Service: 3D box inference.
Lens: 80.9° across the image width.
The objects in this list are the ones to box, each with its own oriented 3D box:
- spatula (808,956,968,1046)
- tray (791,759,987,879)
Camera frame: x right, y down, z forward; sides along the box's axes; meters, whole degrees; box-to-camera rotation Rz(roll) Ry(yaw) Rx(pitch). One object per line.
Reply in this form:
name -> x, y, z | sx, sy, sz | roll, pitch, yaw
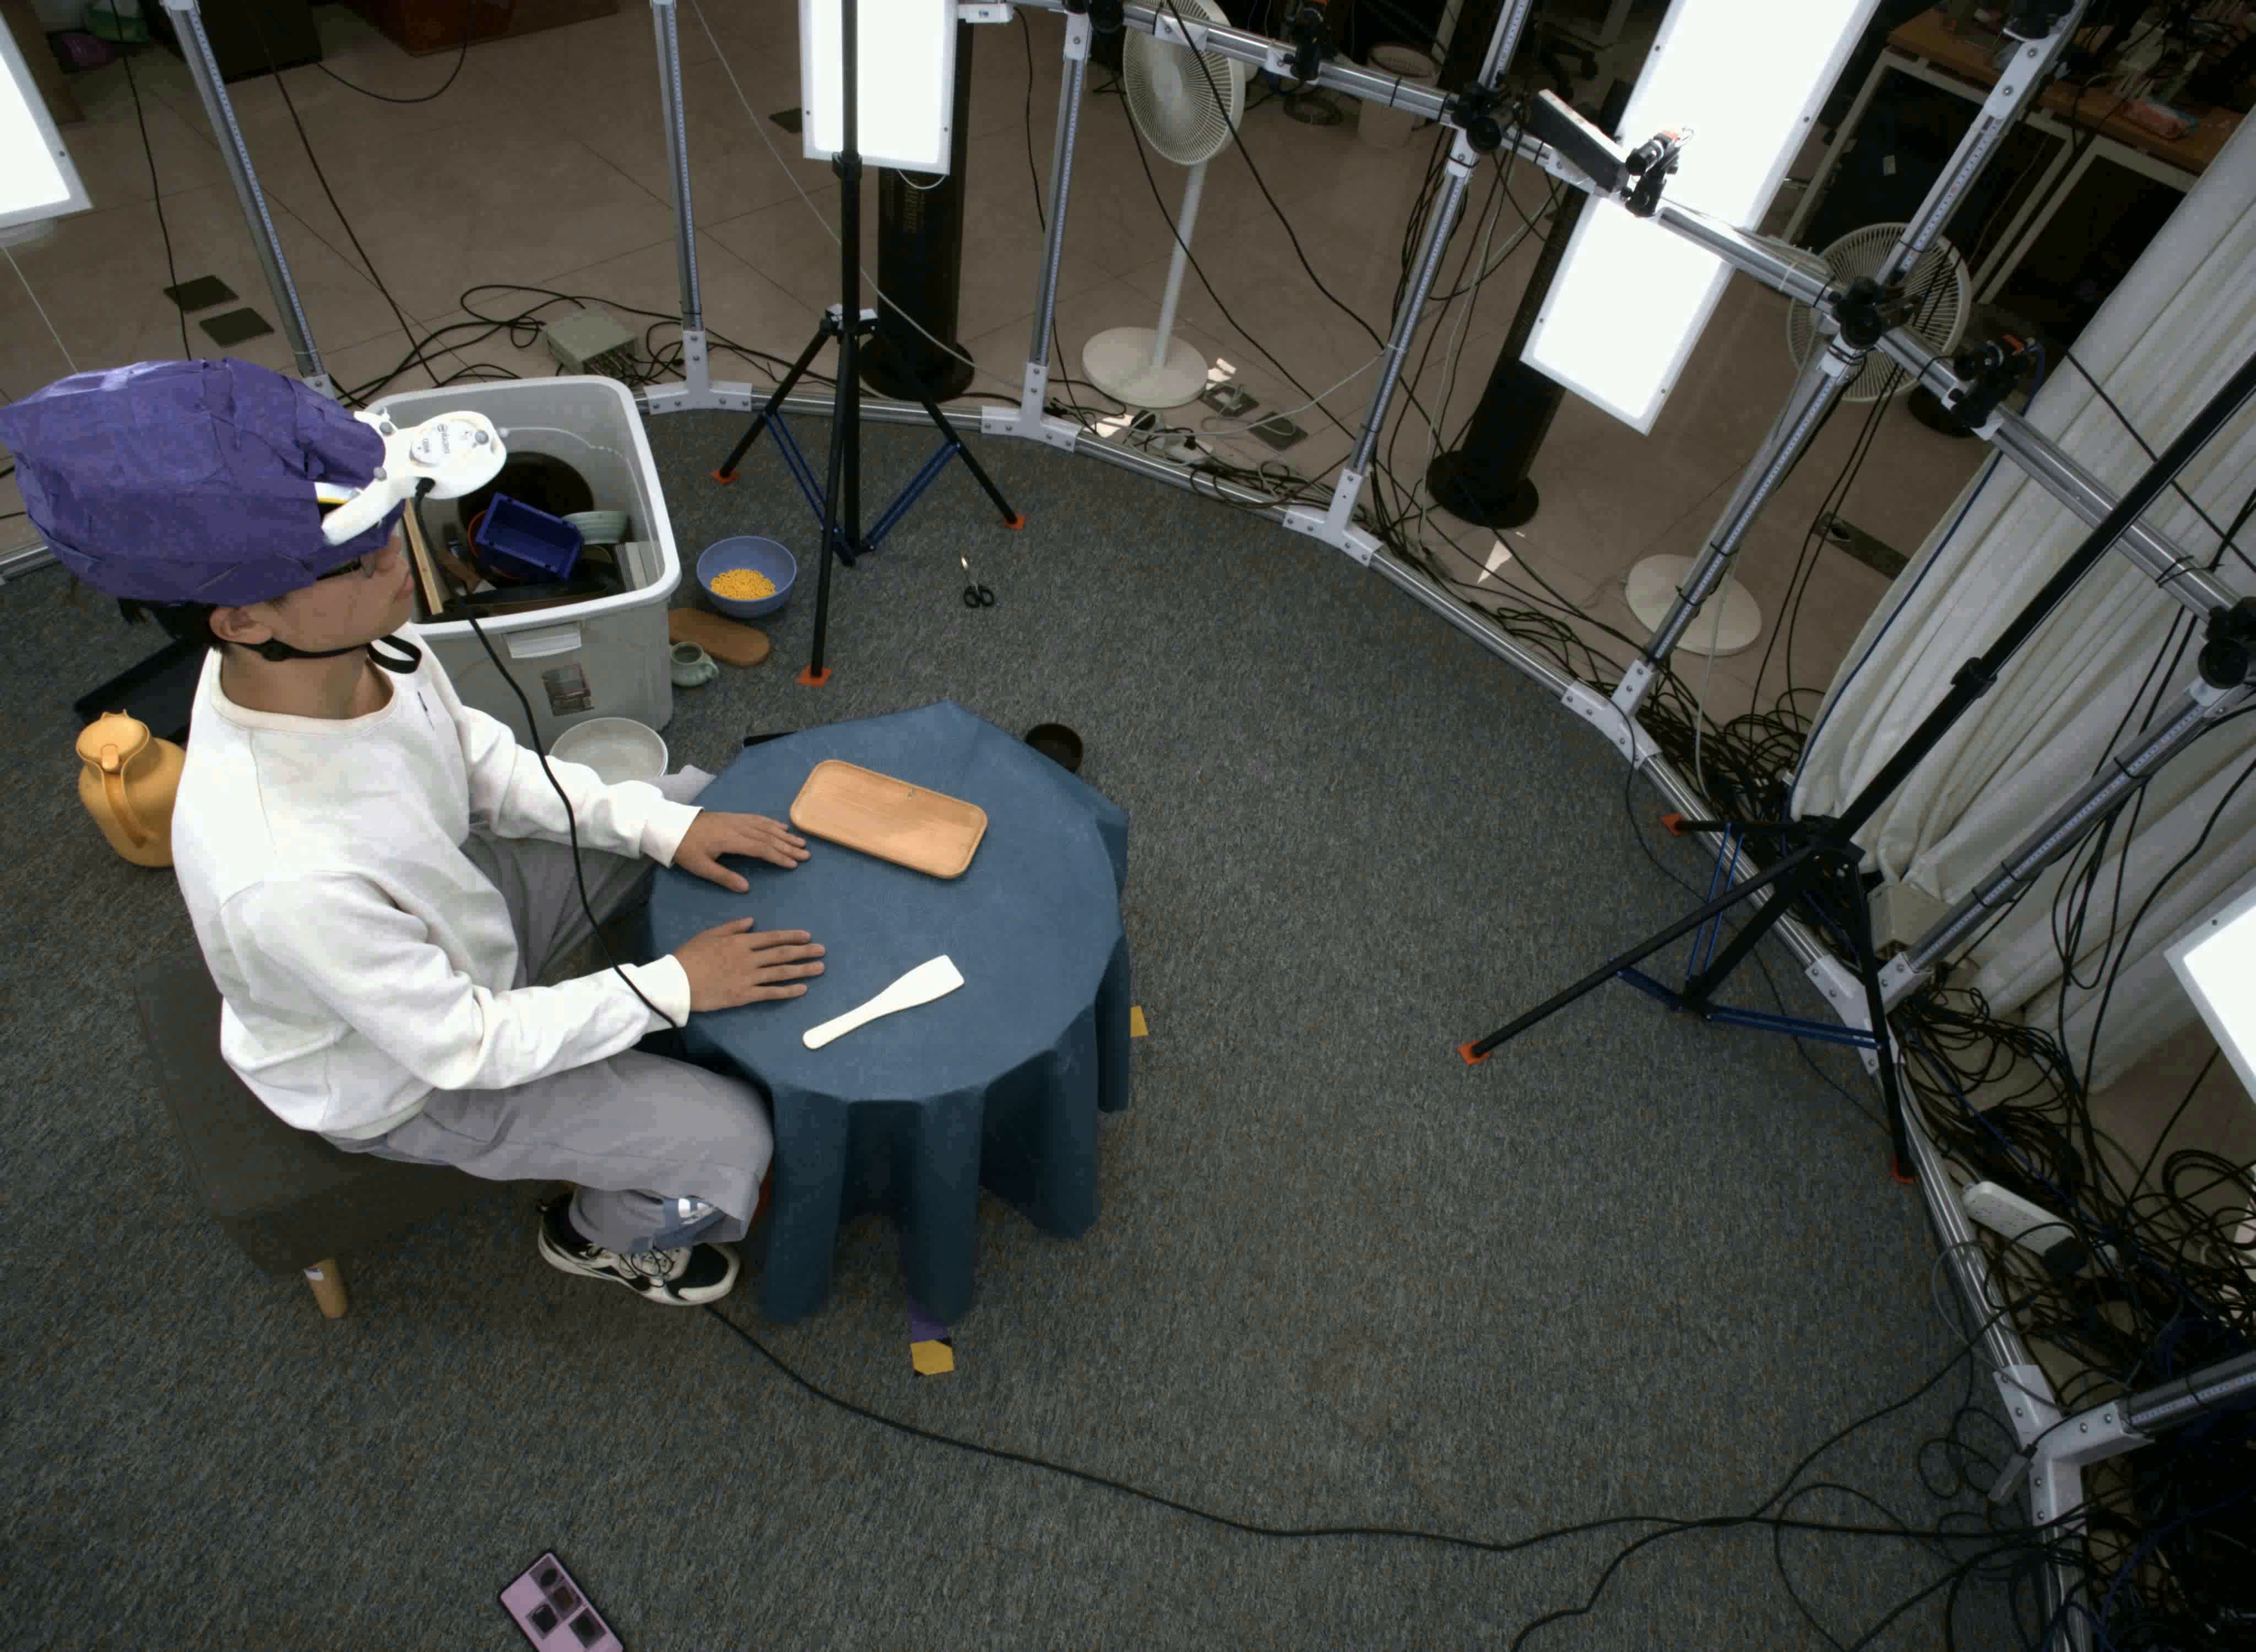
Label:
spatula -> -0.297, 0.216, 1.599 | 0.209, 0.005, 0.049 | -24, 62, -28
tray -> -0.322, -0.010, 1.755 | 0.248, 0.023, 0.129 | 19, 49, 1
